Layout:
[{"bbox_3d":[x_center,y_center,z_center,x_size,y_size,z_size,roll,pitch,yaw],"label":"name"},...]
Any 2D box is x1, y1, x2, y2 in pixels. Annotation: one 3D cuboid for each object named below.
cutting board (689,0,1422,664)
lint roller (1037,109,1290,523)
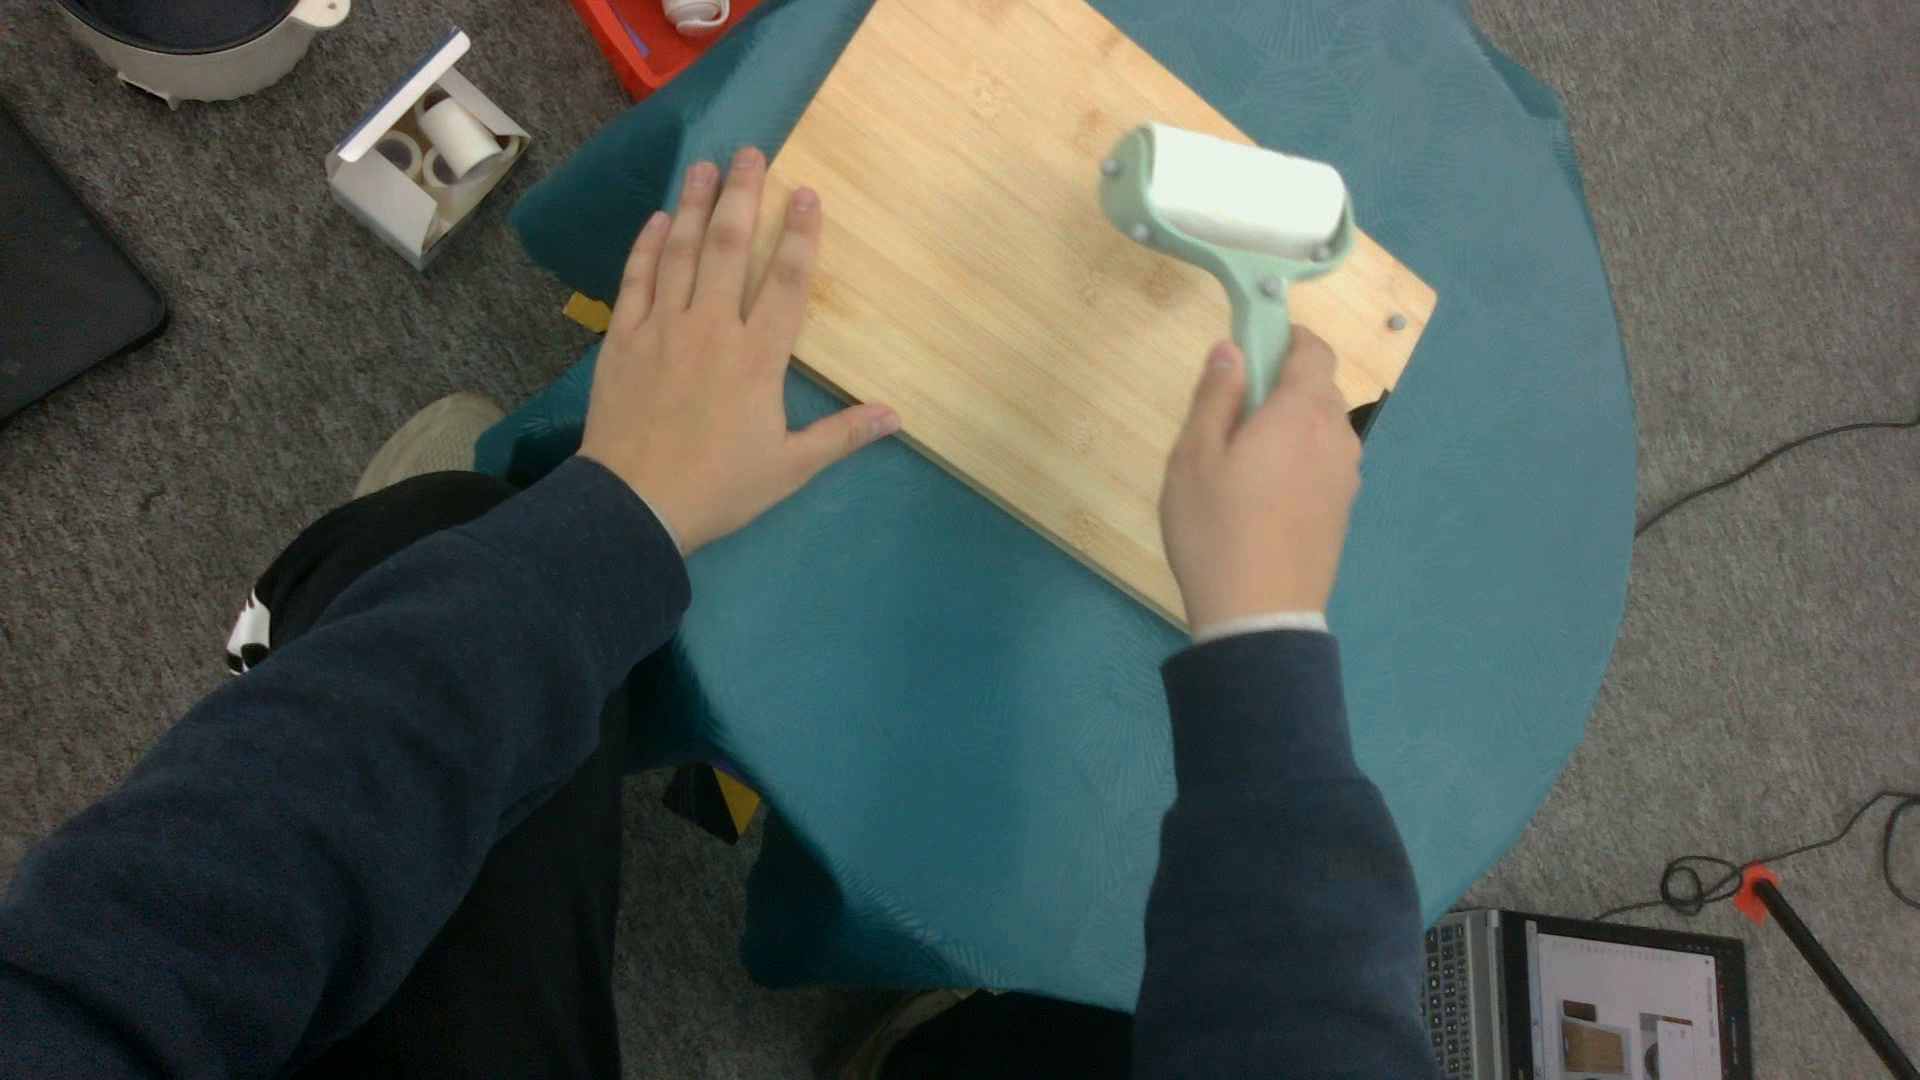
[{"bbox_3d":[0.067,-0.124,0.718,0.348,0.023,0.251,29,76,-16],"label":"cutting board"},{"bbox_3d":[0.103,-0.105,0.624,0.117,0.048,0.198,2,67,-24],"label":"lint roller"}]
